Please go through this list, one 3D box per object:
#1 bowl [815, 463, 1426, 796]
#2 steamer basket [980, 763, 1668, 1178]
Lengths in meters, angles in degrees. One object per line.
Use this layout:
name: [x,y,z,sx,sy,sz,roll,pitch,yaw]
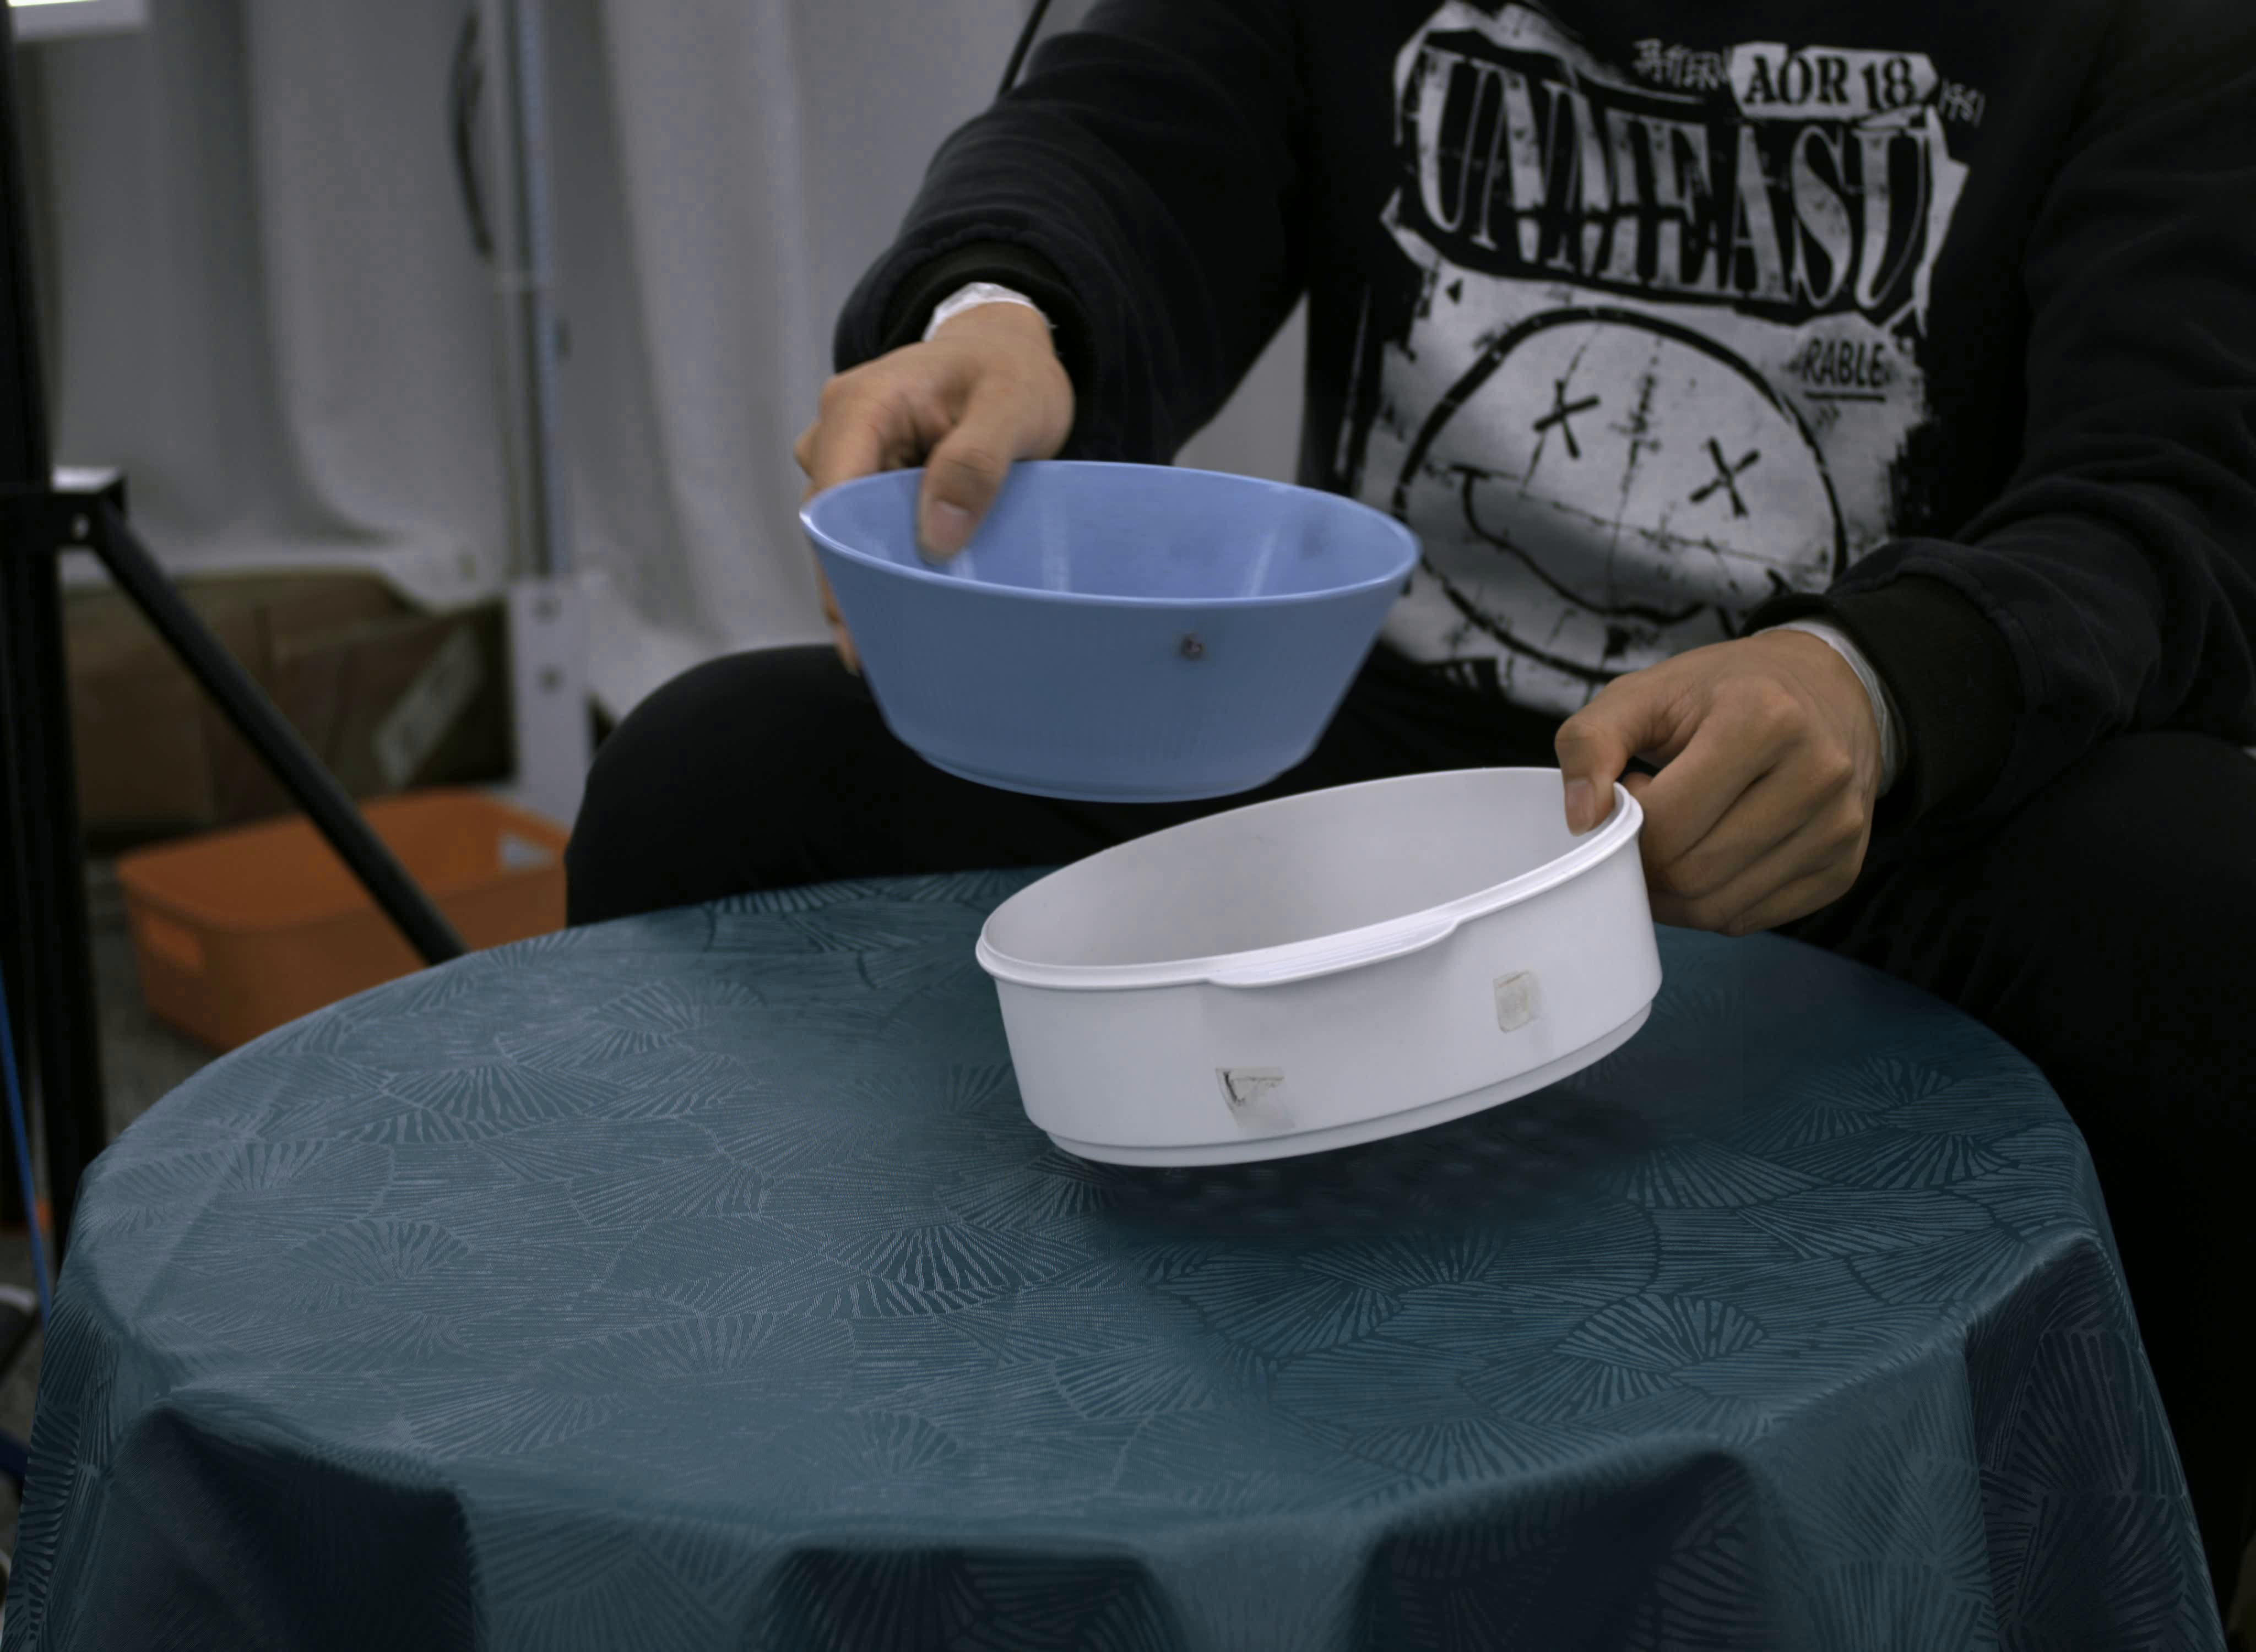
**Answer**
bowl: [-0.004,-0.055,1.527,0.175,0.070,0.177,3,15,-2]
steamer basket: [0.060,0.043,1.566,0.201,0.069,0.232,-13,14,1]
